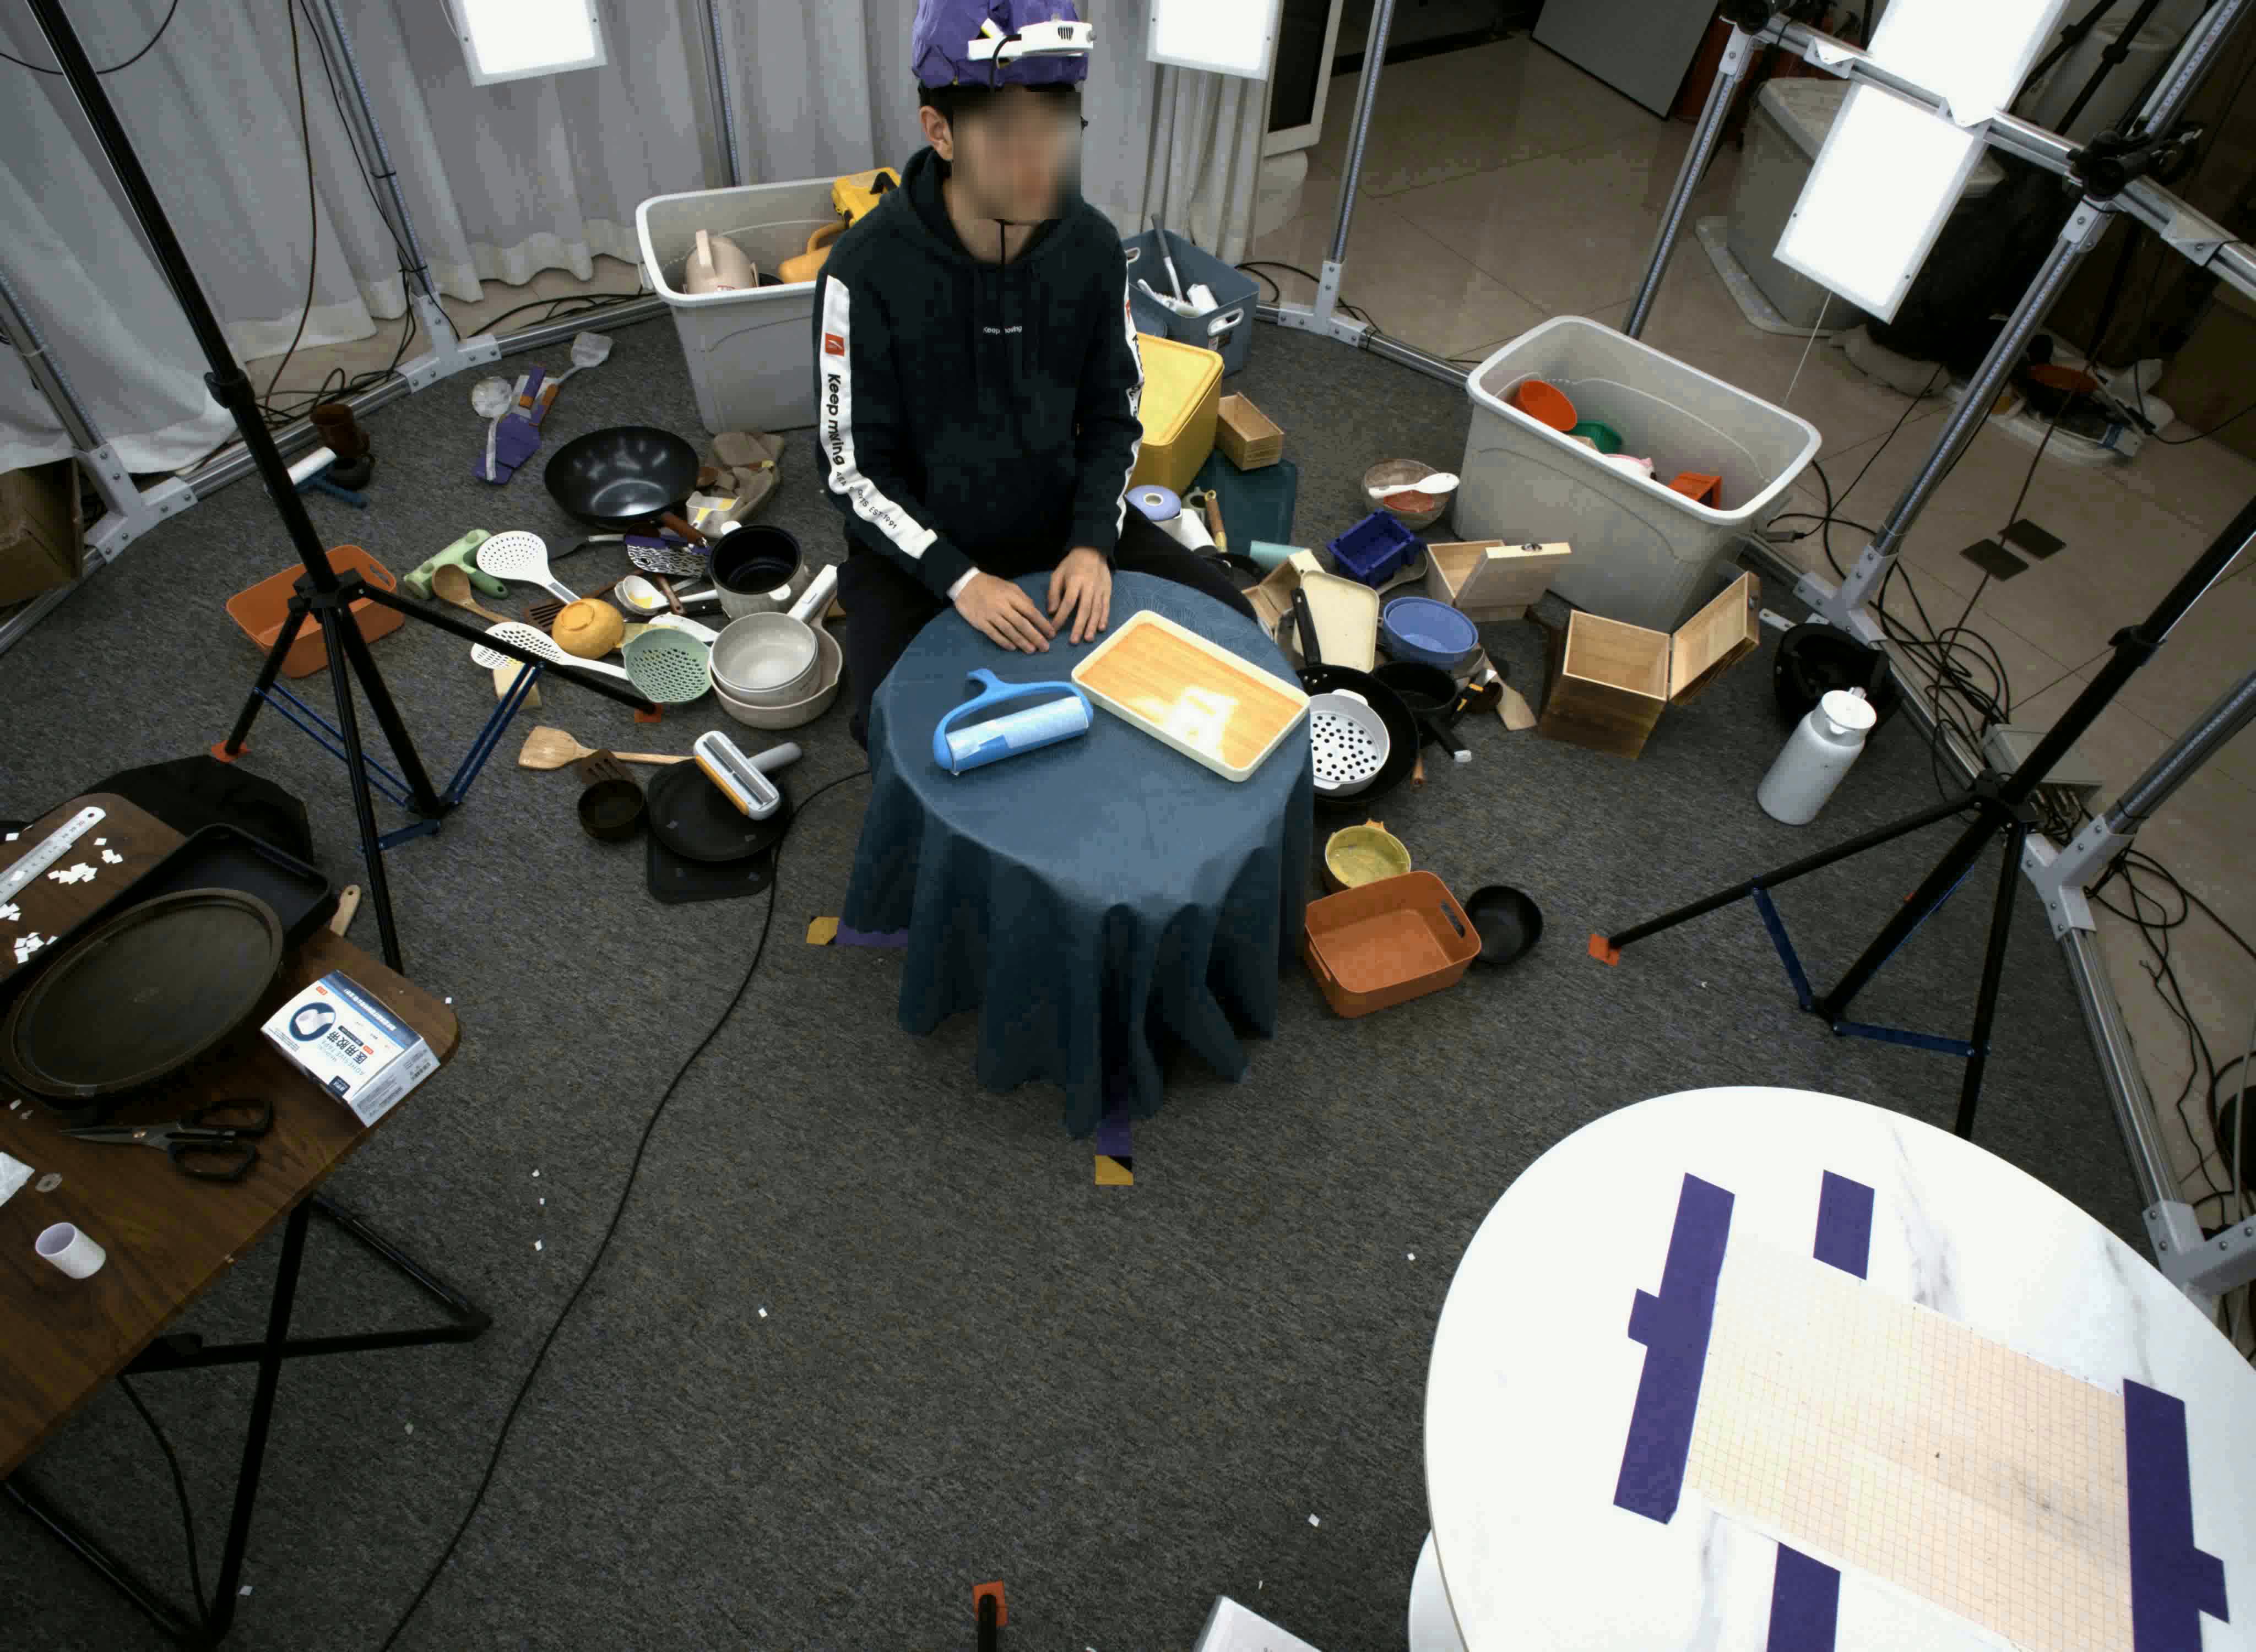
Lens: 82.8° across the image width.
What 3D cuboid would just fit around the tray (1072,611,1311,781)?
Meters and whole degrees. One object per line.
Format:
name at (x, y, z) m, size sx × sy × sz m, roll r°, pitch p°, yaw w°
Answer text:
tray at (0.089, -0.190, 1.821) m, size 0.304 × 0.027 × 0.194 m, roll 31°, pitch 54°, yaw 22°

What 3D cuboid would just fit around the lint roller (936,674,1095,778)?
lint roller at (-0.178, -0.163, 1.762) m, size 0.229 × 0.066 × 0.184 m, roll -23°, pitch 55°, yaw -19°
